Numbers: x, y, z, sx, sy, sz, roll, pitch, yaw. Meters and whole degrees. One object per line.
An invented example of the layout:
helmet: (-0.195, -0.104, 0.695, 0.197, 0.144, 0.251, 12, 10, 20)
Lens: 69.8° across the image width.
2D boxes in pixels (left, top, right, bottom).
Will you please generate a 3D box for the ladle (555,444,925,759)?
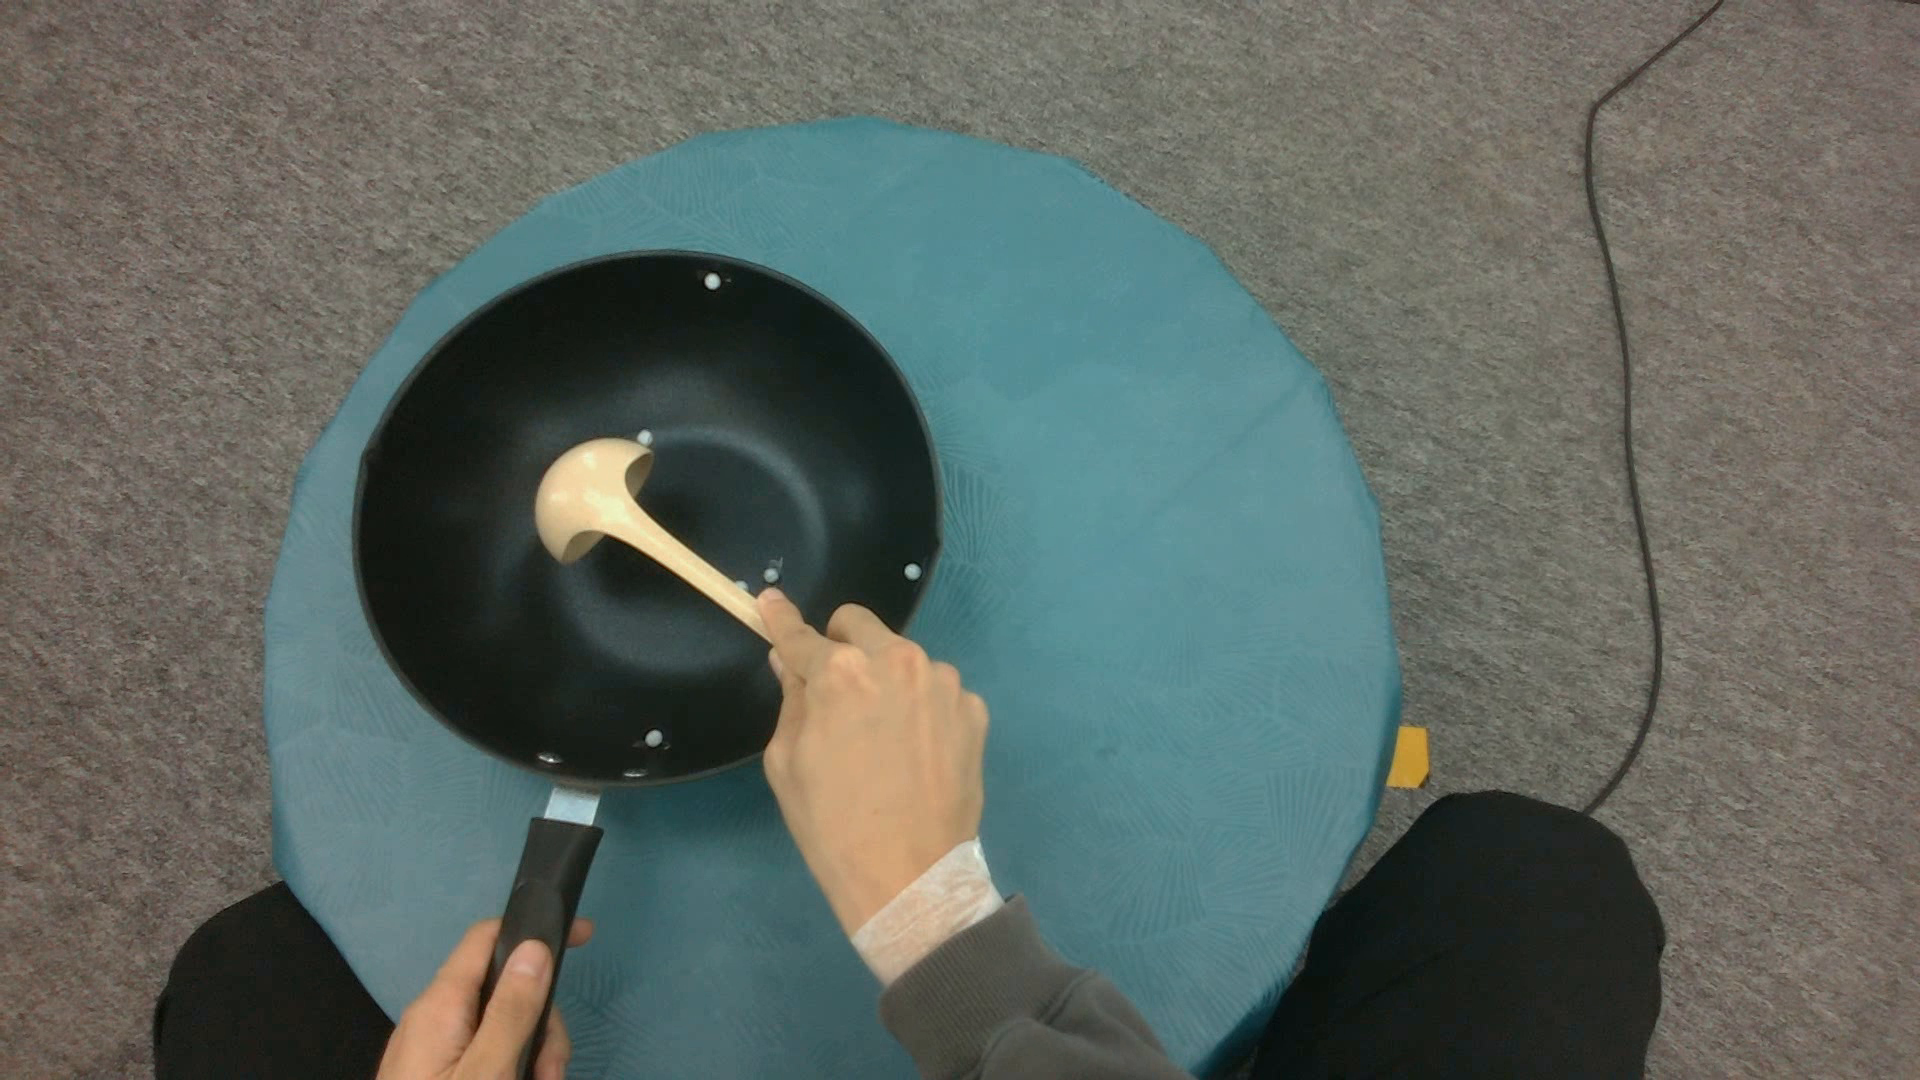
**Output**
ladle: (-0.102, 0.037, 0.675, 0.254, 0.072, 0.072, 36, 80, 24)

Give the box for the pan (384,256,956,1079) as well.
pan: (-0.161, 0.080, 0.689, 0.288, 0.086, 0.465, 10, 71, 3)
